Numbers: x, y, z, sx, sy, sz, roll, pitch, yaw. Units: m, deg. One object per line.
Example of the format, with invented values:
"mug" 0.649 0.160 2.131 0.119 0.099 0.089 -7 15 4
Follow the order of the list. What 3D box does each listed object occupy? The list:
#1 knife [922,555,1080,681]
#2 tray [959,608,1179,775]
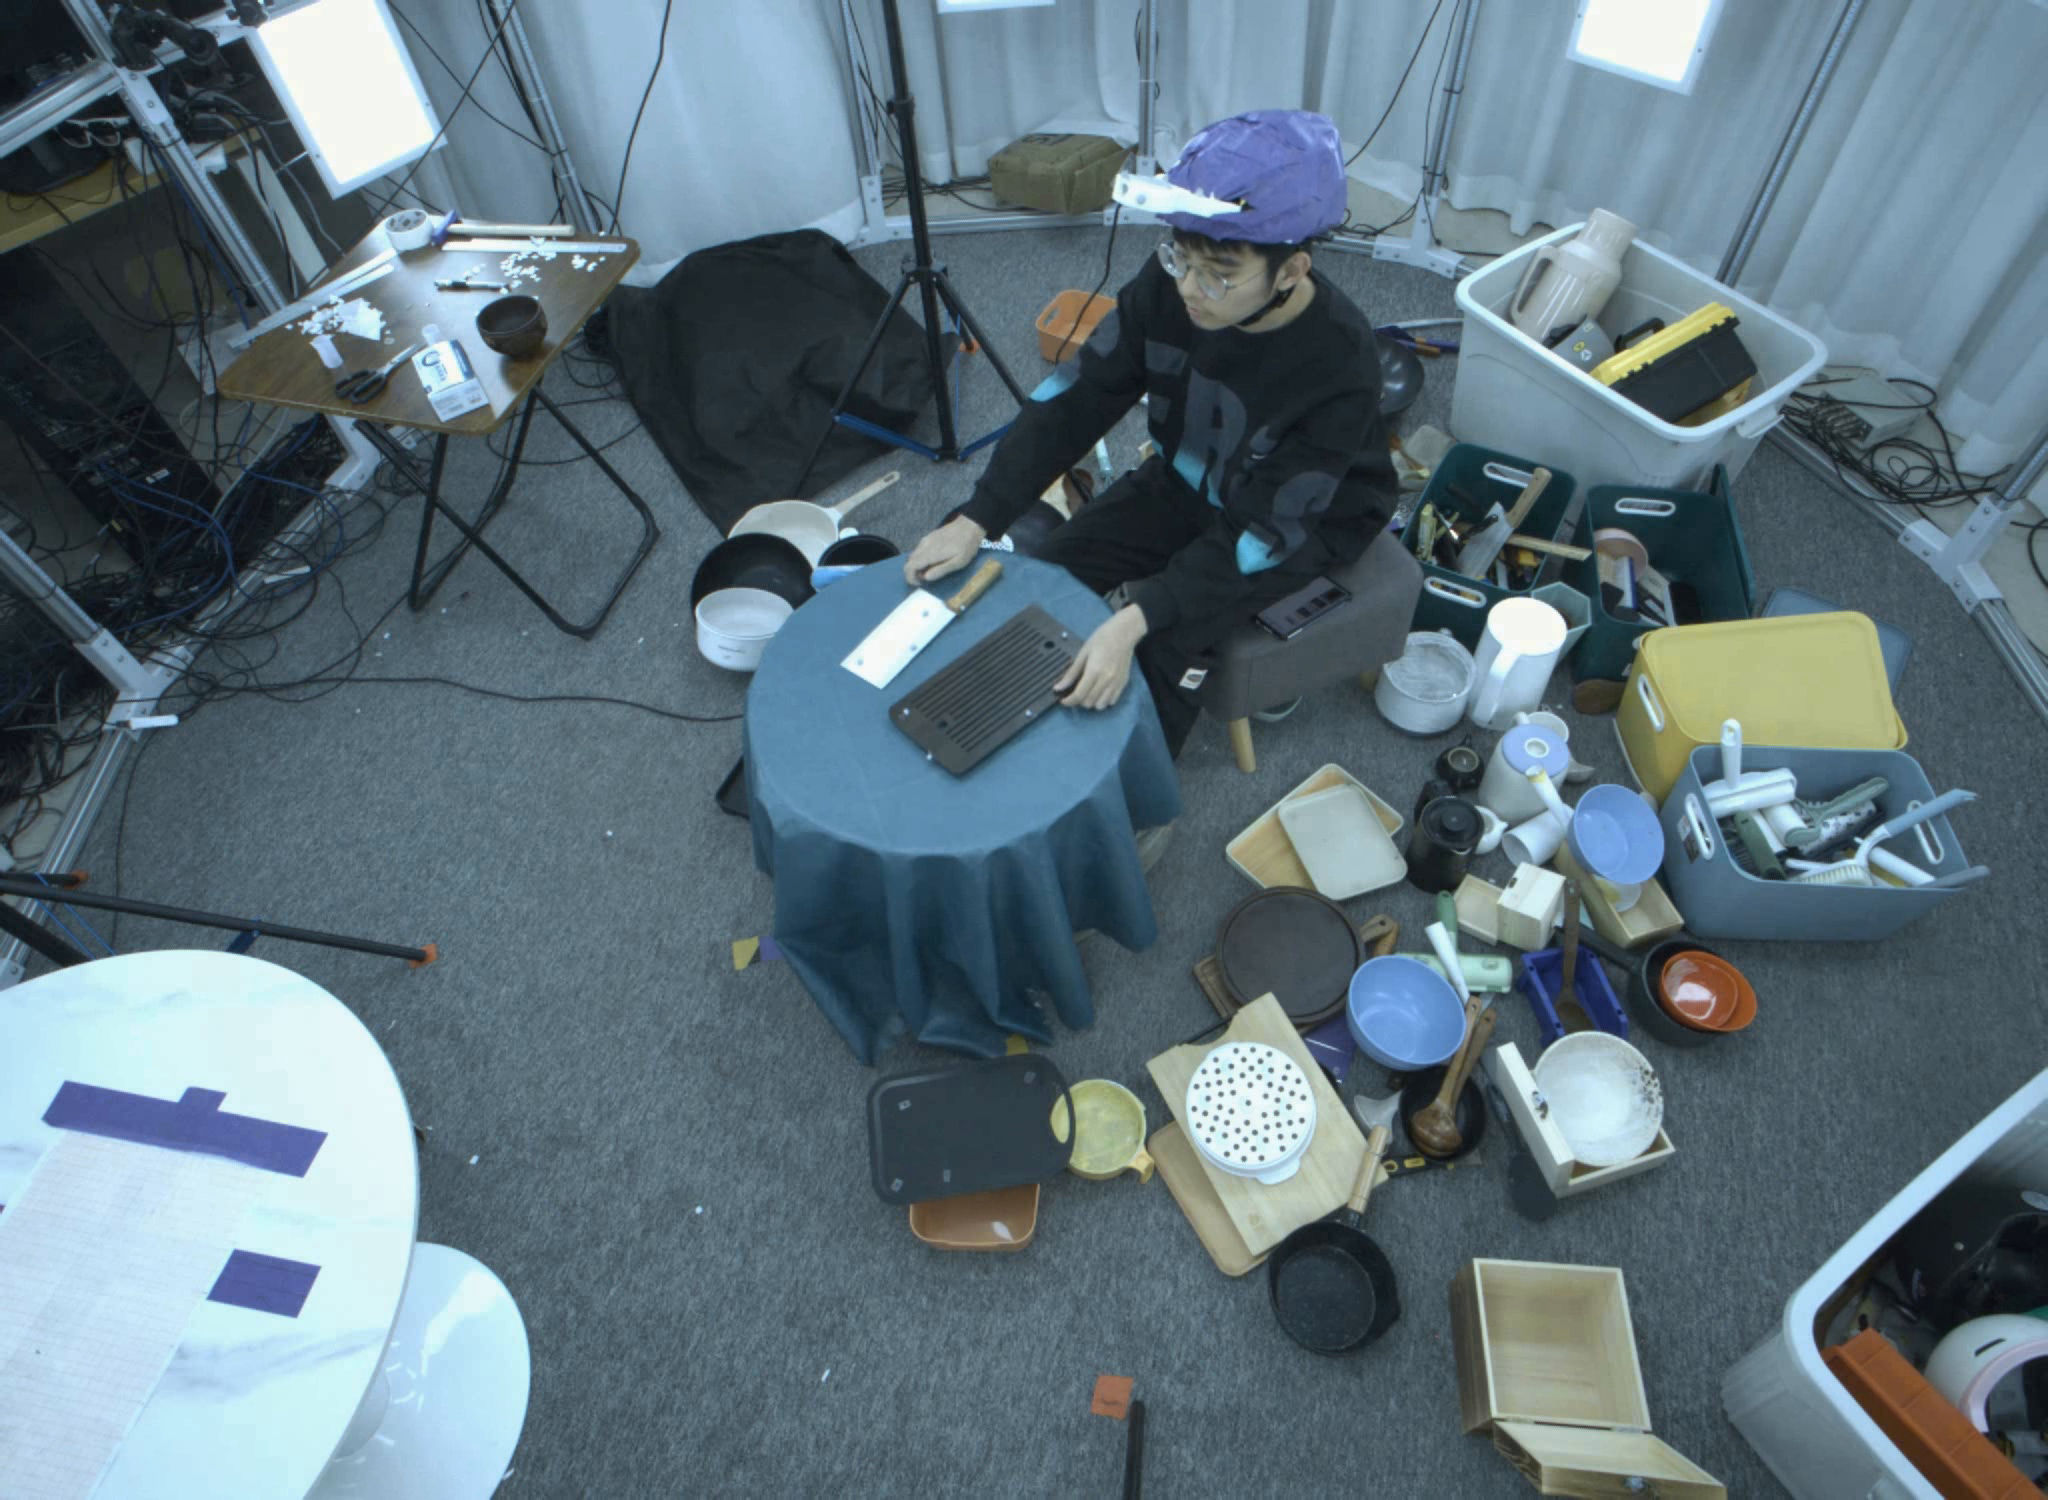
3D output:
"knife" -0.040 -0.221 1.936 0.091 0.021 0.307 35 65 26
"tray" 0.068 -0.091 1.837 0.308 0.019 0.167 -34 60 -20
